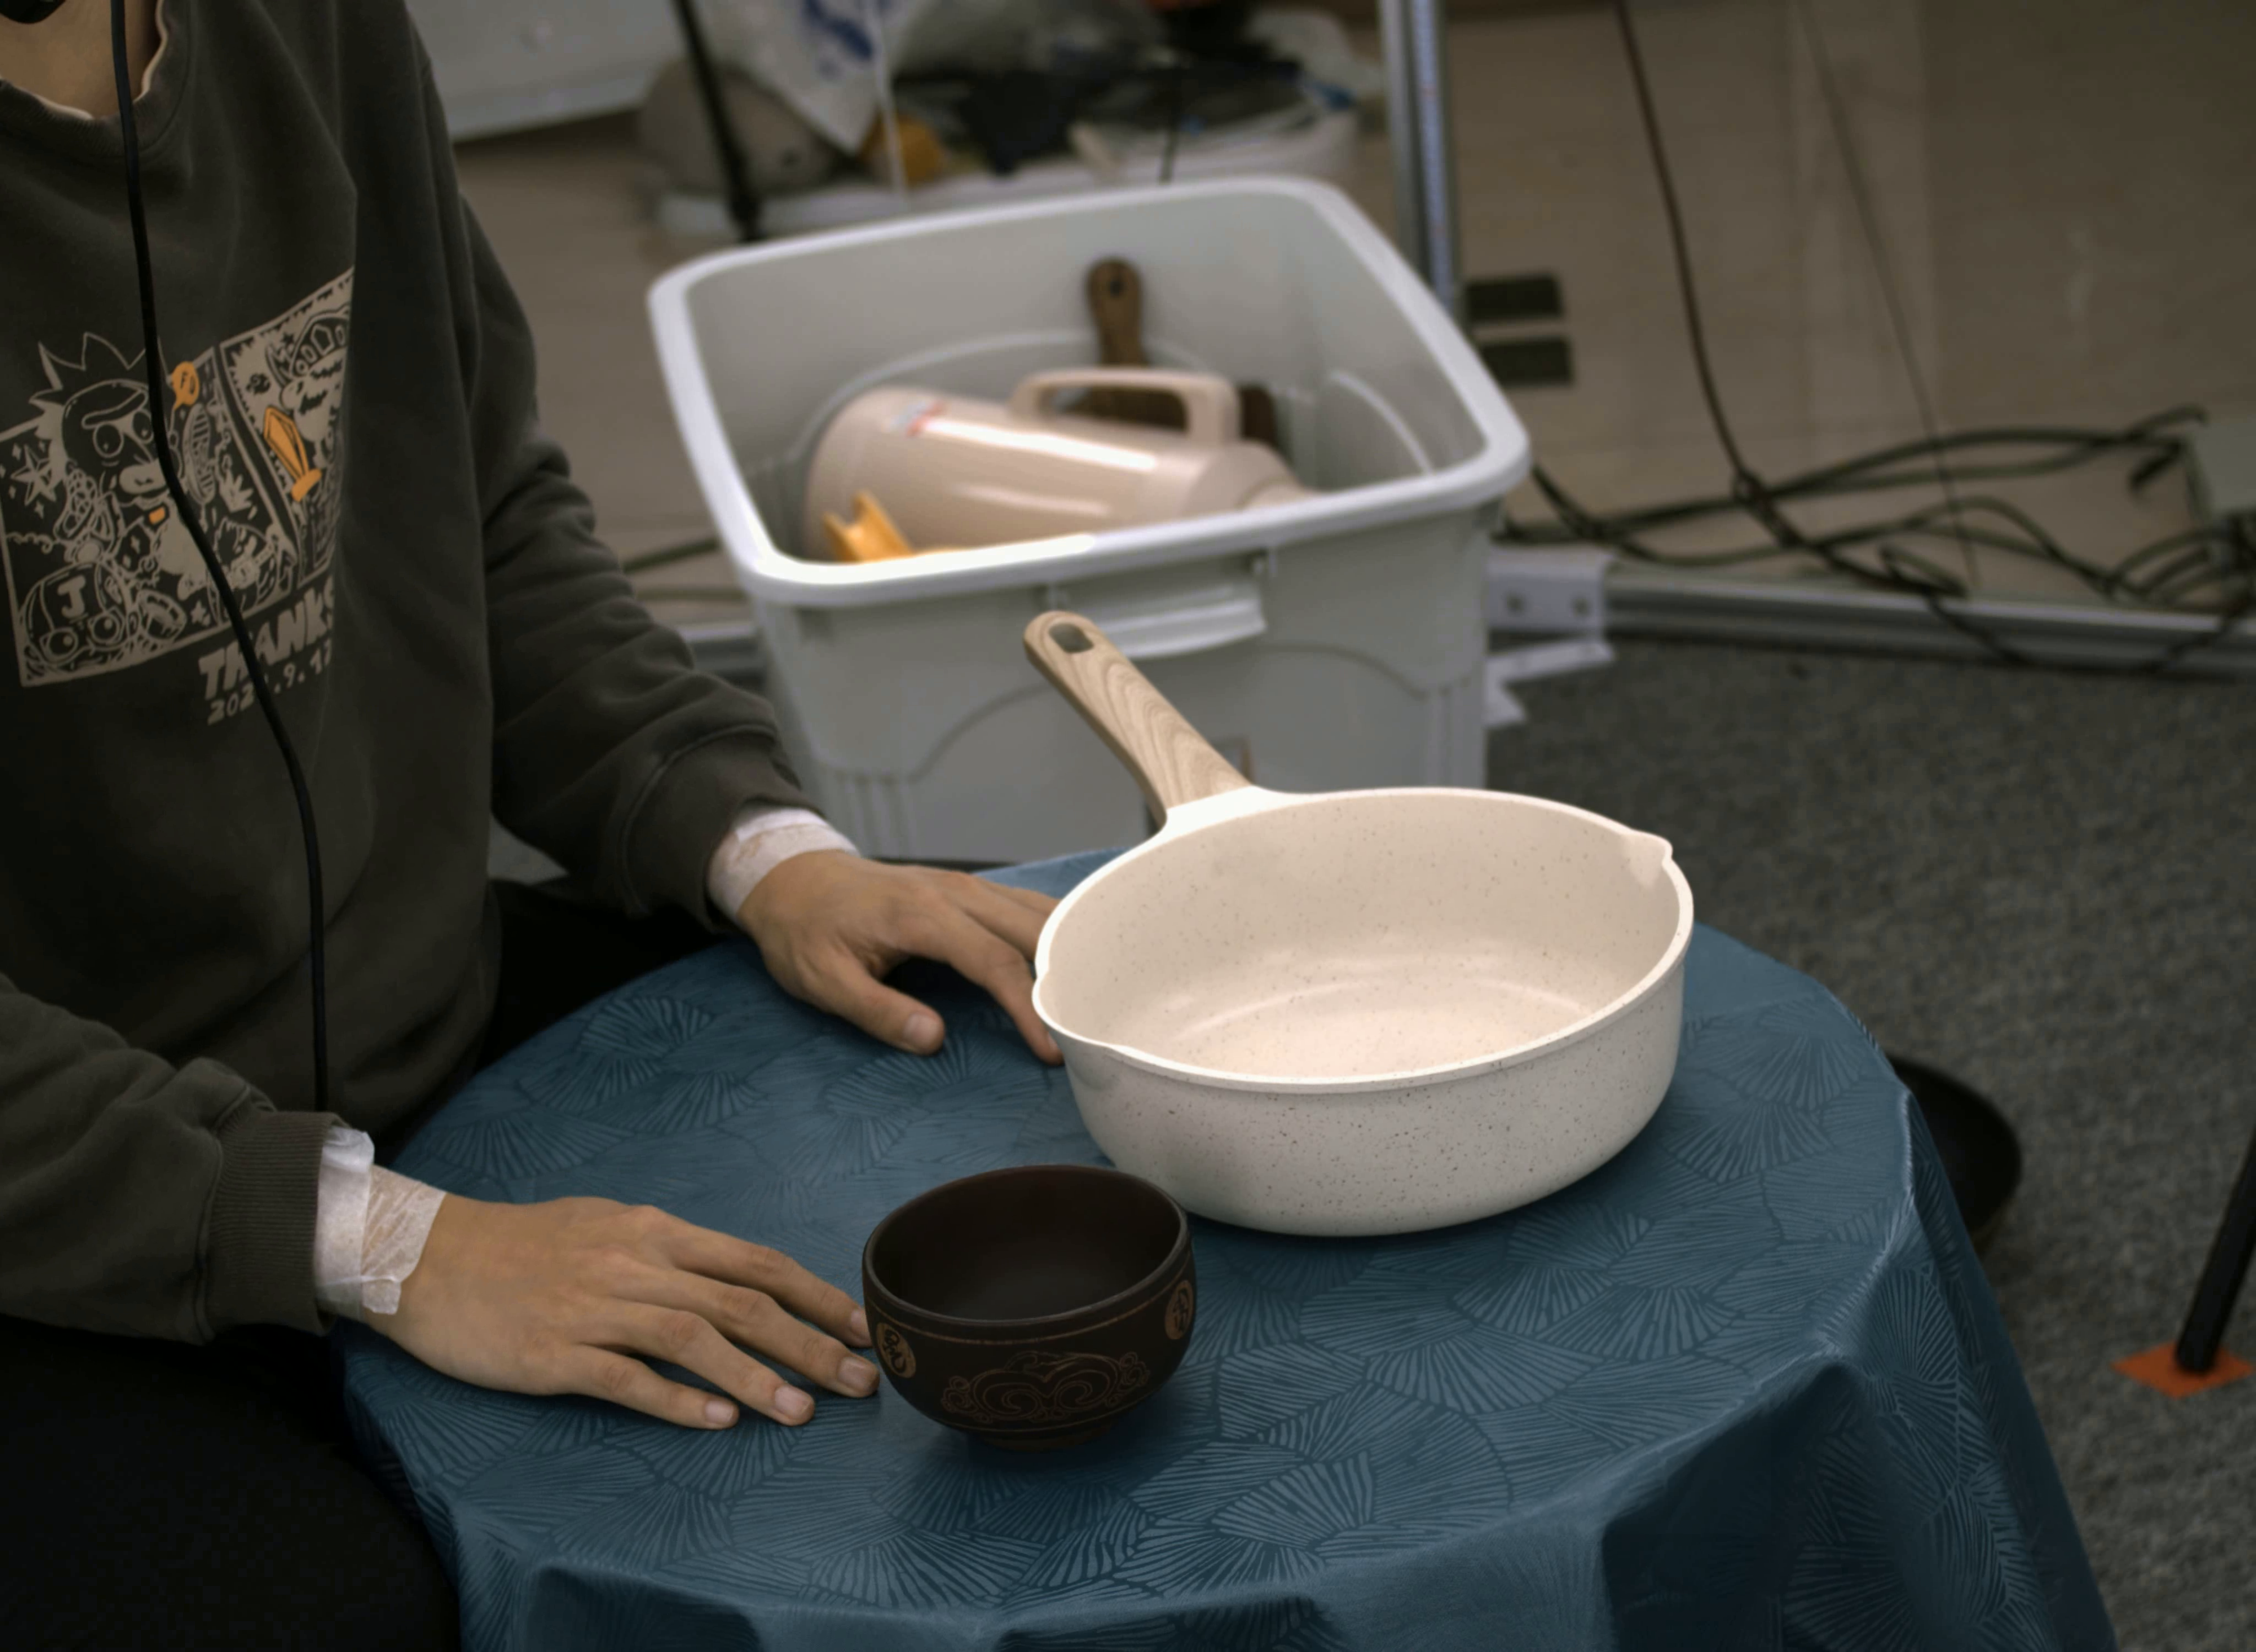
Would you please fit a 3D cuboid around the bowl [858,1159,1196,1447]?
[{"bbox_3d":[-0.033,0.174,1.994,0.118,0.071,0.116,-7,25,3],"label":"bowl"}]

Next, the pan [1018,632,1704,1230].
[{"bbox_3d":[0.060,0.035,2.238,0.262,0.103,0.429,-18,26,-18],"label":"pan"}]
